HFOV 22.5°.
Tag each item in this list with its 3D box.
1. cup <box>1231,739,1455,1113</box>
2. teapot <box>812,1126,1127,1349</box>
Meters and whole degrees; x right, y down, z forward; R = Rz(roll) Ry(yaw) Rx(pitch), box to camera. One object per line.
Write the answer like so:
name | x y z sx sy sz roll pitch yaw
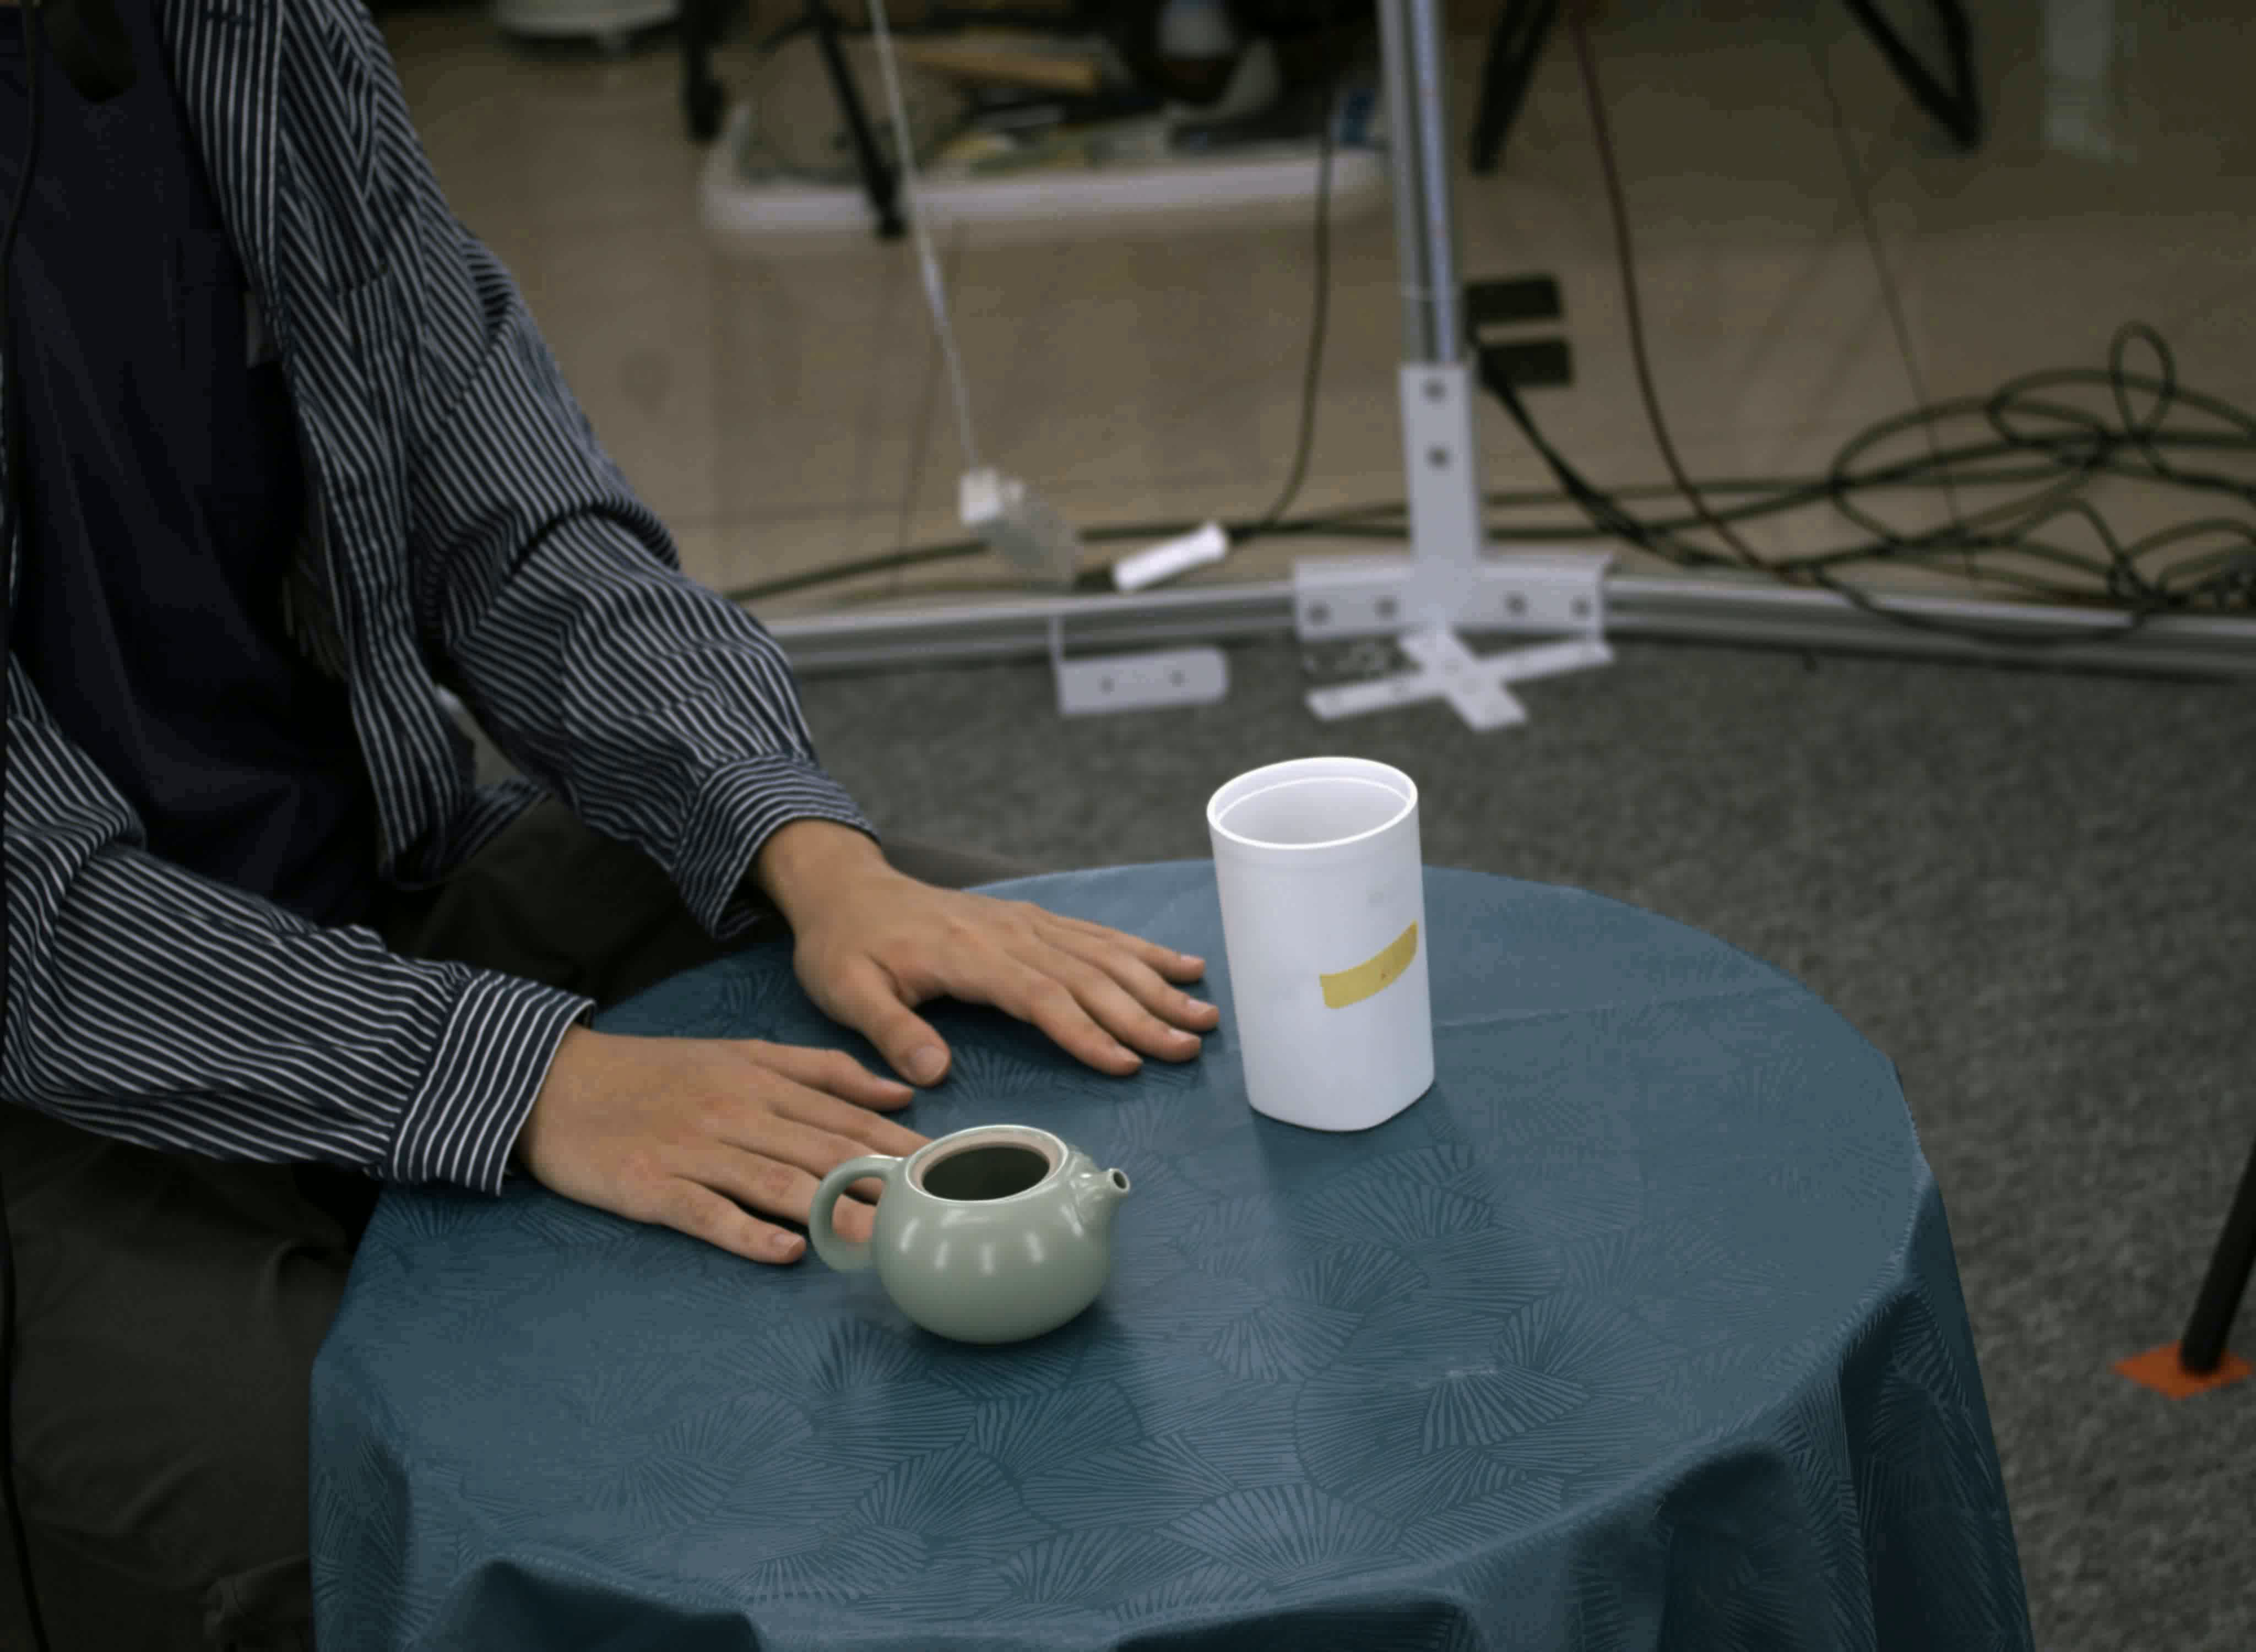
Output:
cup | 0.086 0.040 2.185 0.081 0.127 0.080 -5 26 3
teapot | -0.057 0.150 2.073 0.128 0.062 0.090 5 30 24
